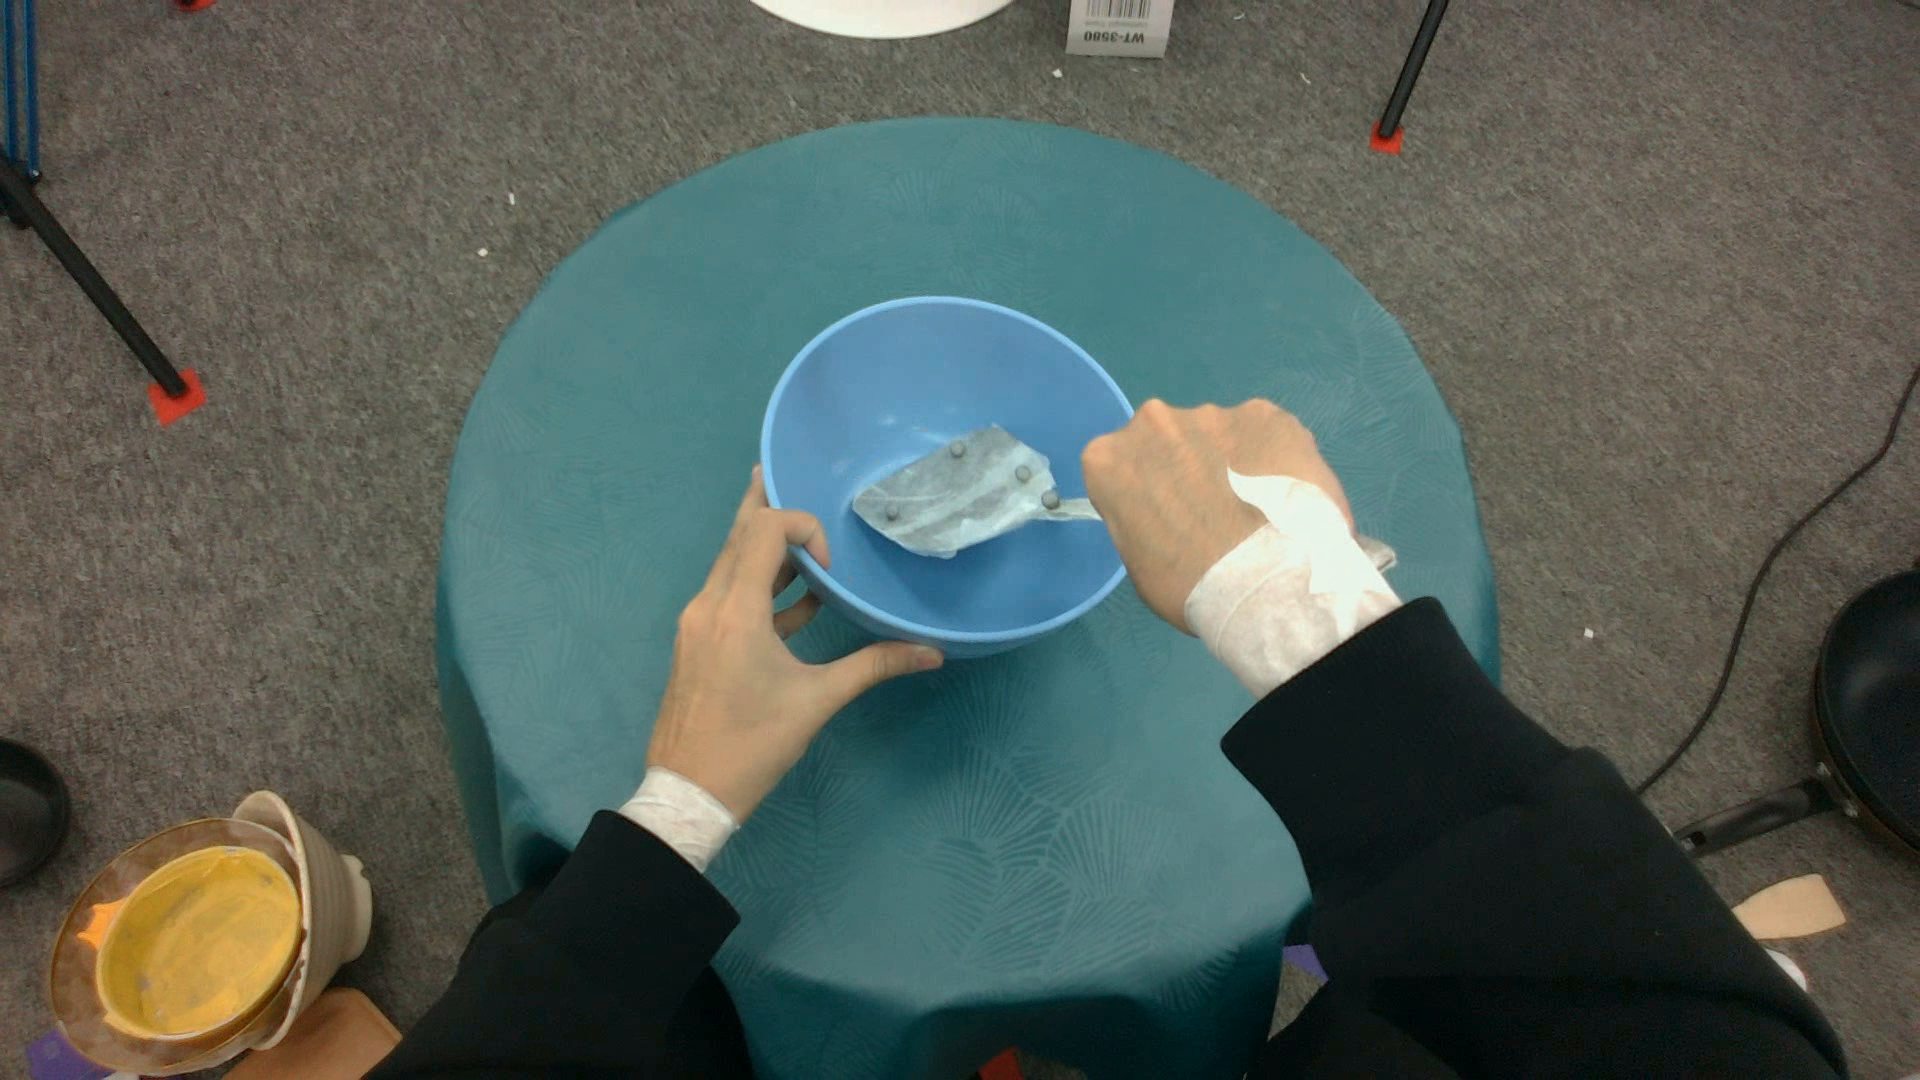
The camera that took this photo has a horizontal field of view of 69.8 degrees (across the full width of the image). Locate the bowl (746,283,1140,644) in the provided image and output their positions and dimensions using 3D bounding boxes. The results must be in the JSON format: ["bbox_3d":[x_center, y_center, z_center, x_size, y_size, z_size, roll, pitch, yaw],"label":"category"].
[{"bbox_3d":[-0.015,-0.026,0.709,0.196,0.095,0.197,6,60,-11],"label":"bowl"}]

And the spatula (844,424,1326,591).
[{"bbox_3d":[0.046,-0.018,0.596,0.099,0.364,0.045,-24,101,-19],"label":"spatula"}]
